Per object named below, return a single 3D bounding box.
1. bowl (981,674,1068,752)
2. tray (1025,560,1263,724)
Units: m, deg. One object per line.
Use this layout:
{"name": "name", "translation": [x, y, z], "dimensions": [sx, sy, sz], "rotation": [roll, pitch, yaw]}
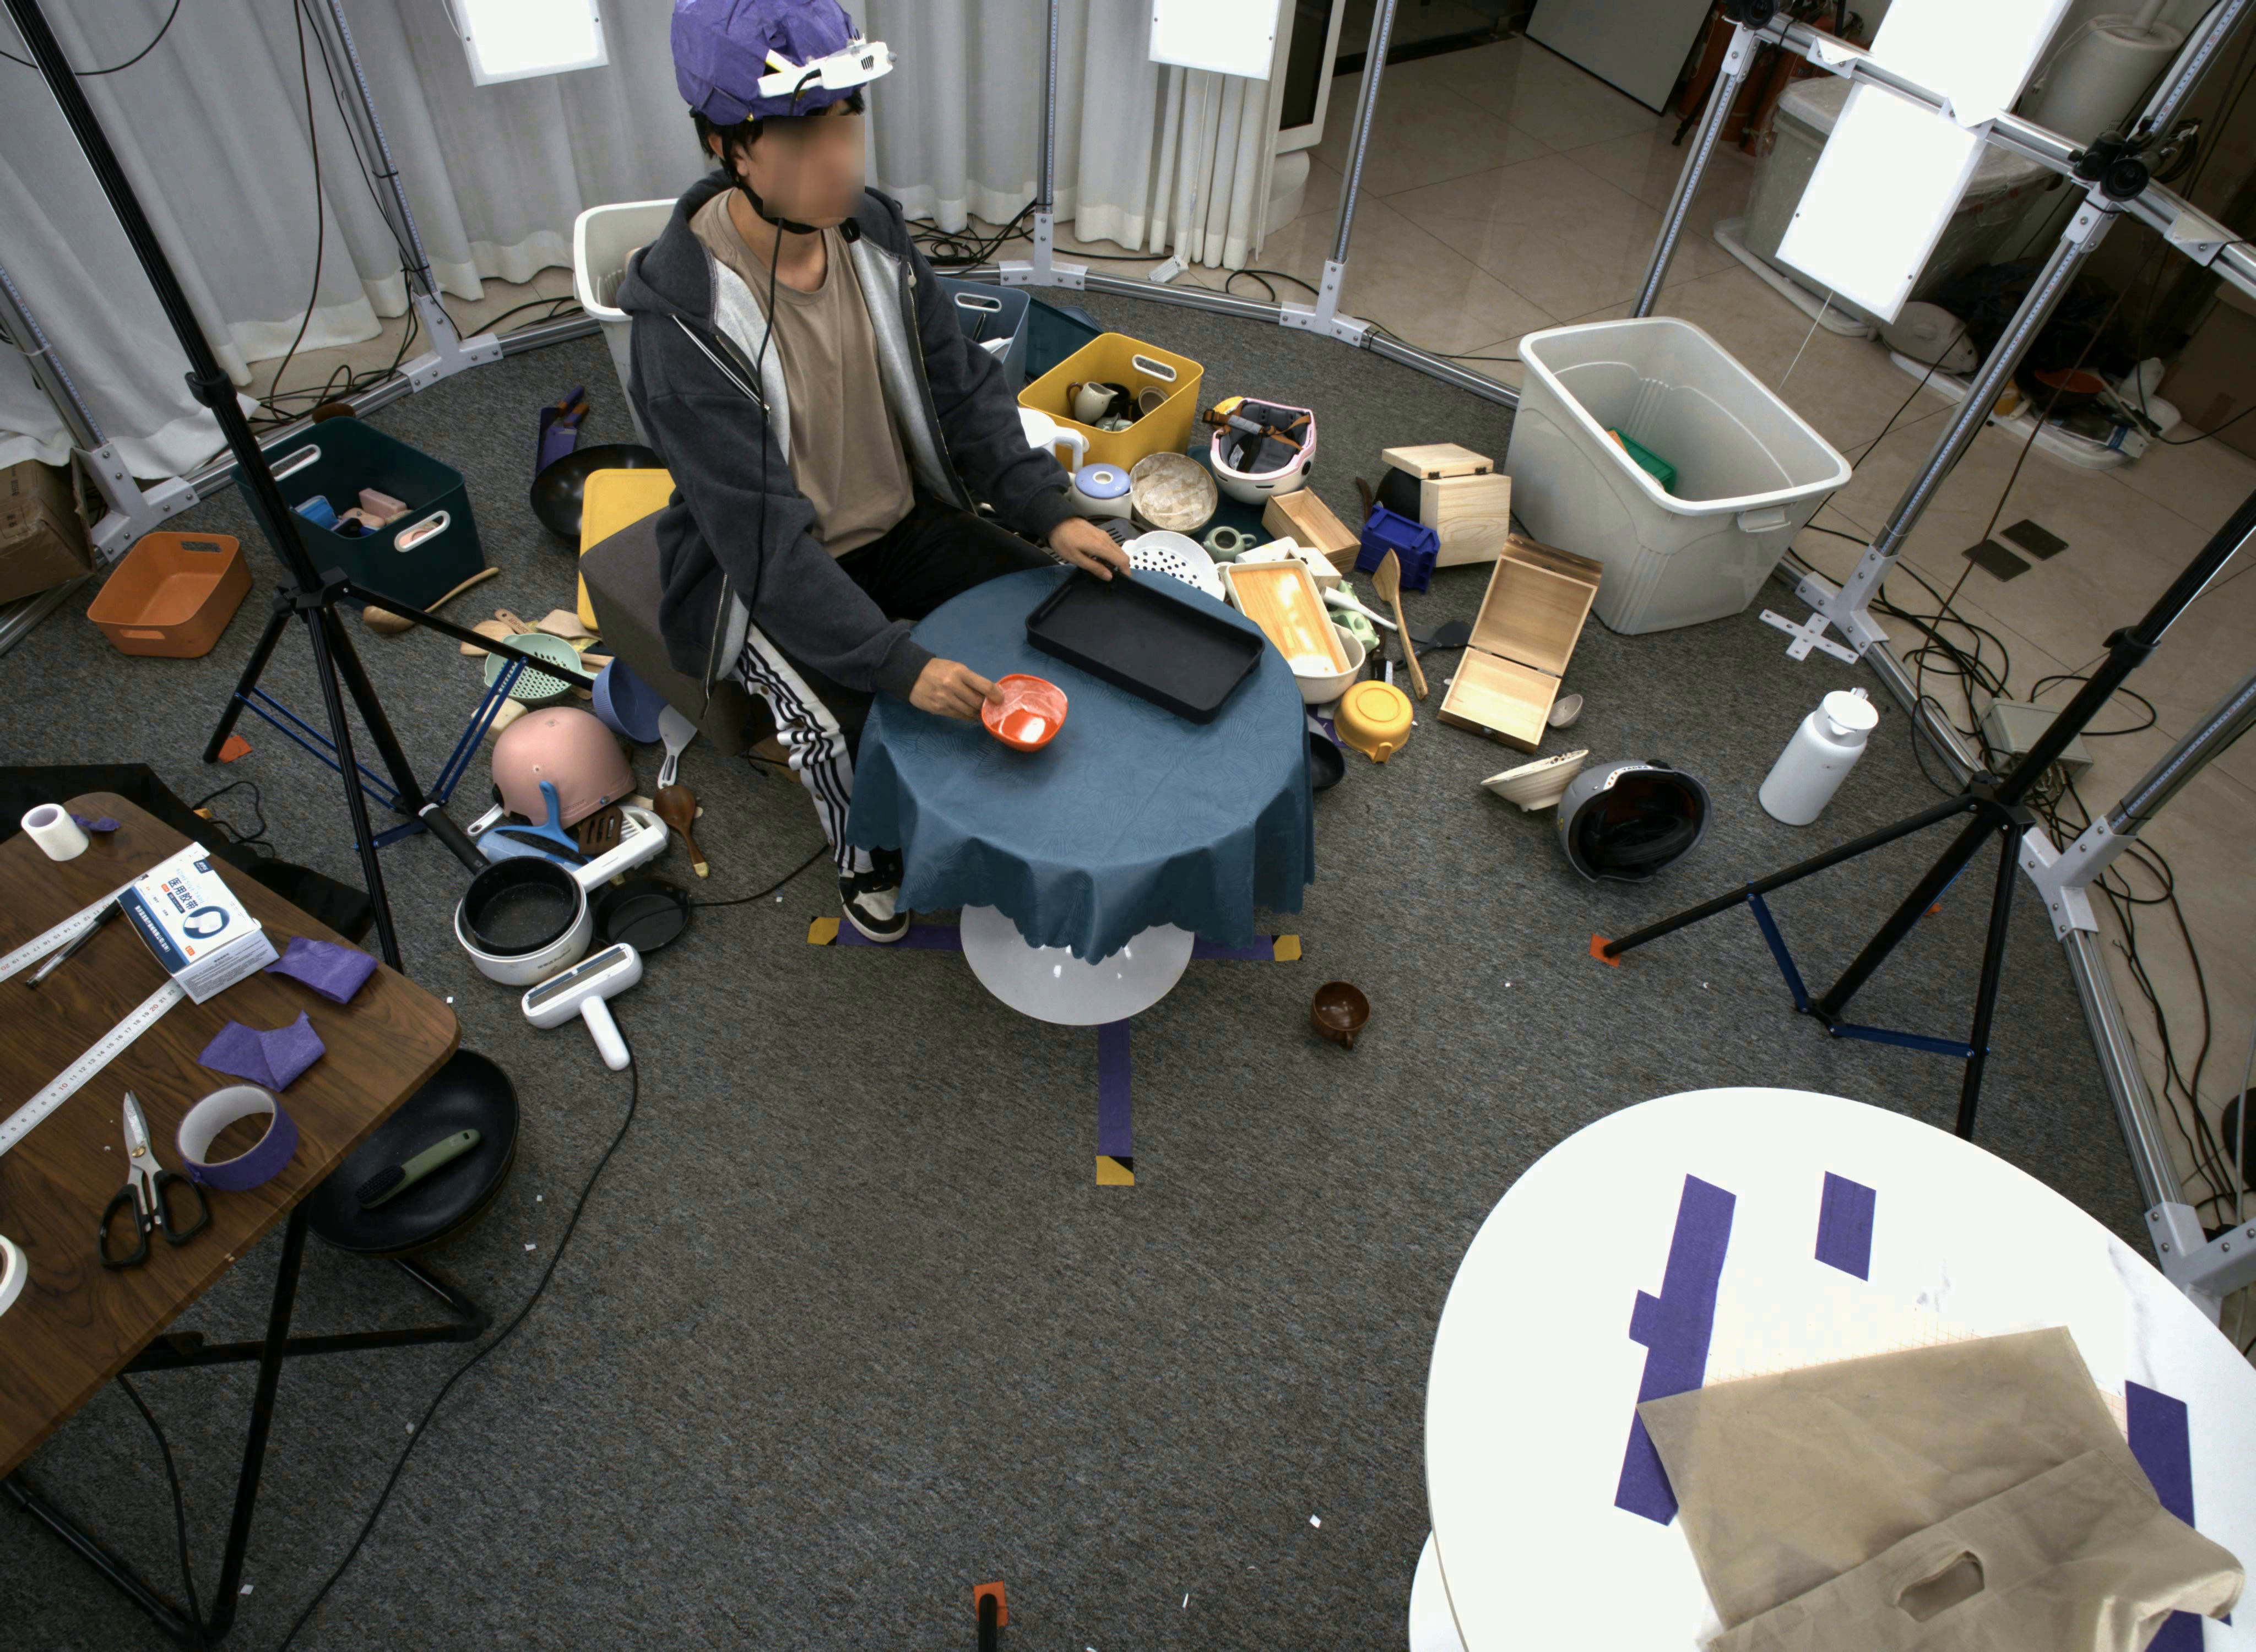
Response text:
{"name": "bowl", "translation": [-0.140, -0.145, 1.729], "dimensions": [0.119, 0.050, 0.121], "rotation": [3, 58, -6]}
{"name": "tray", "translation": [0.023, -0.273, 1.879], "dimensions": [0.321, 0.036, 0.187], "rotation": [27, 53, 17]}
